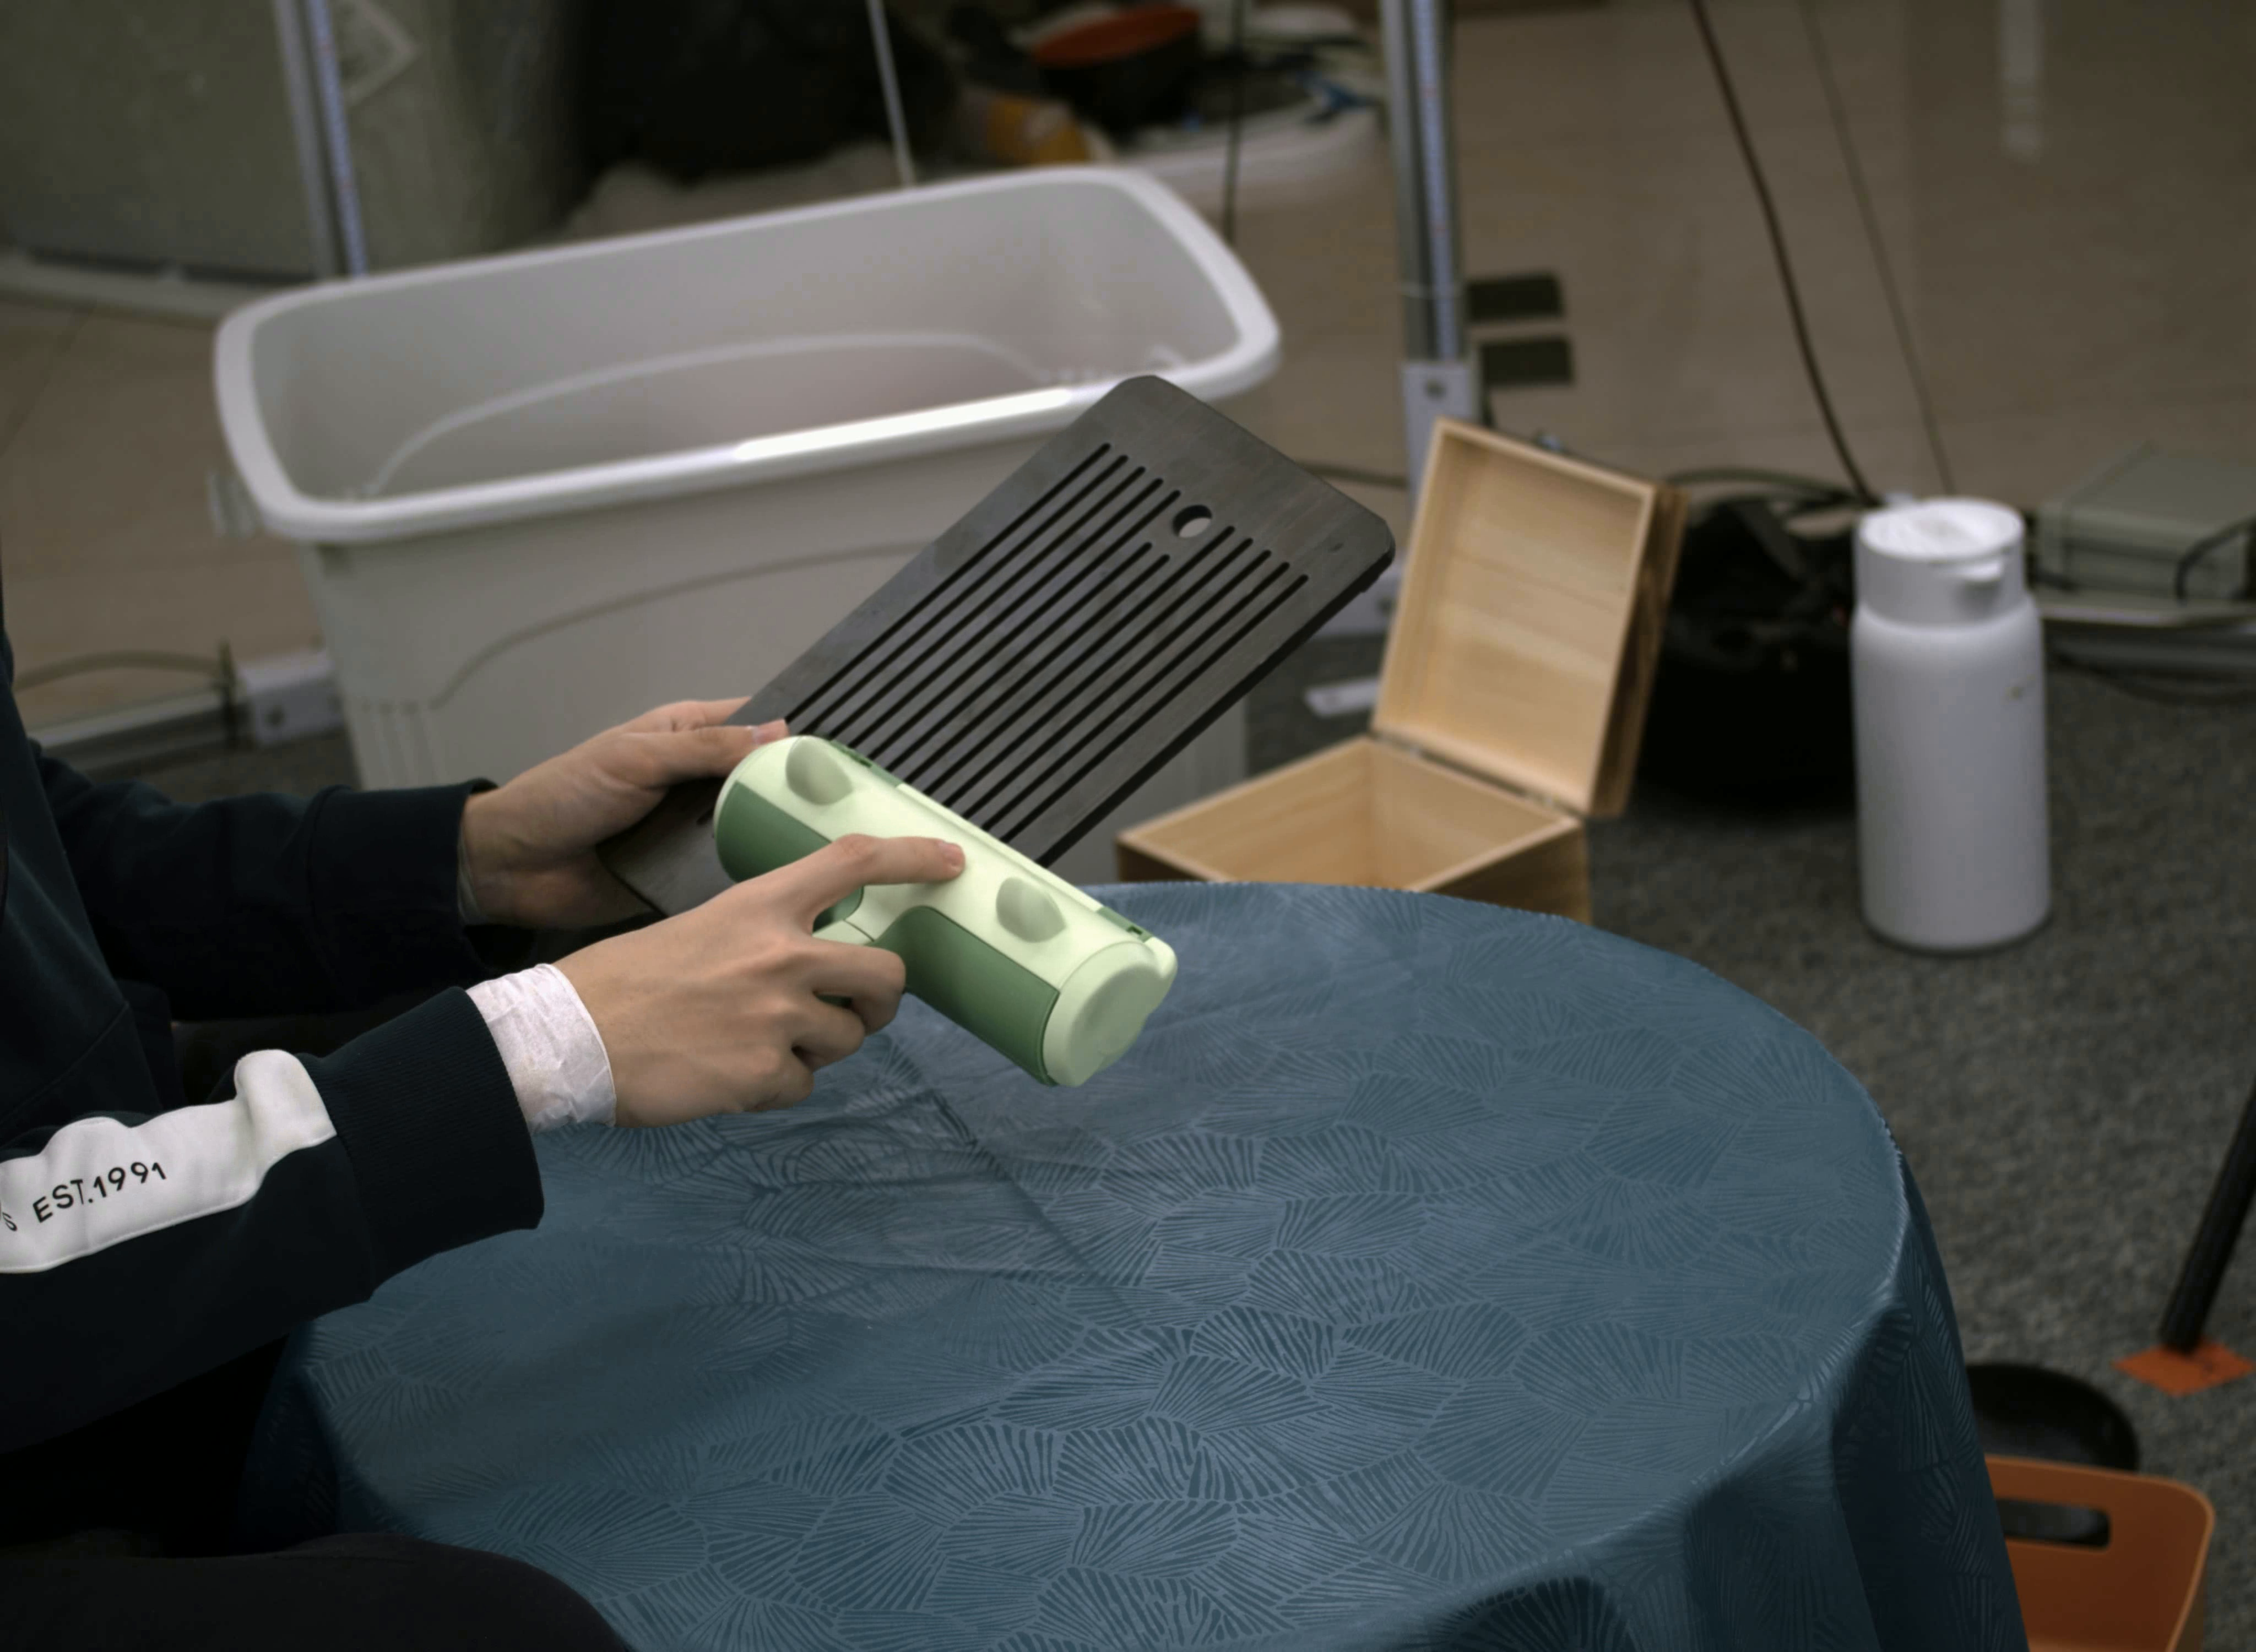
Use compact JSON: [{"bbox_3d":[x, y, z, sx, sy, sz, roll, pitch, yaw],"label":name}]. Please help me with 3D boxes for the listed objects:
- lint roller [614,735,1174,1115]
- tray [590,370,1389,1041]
[{"bbox_3d":[-0.112,0.041,2.049,0.182,0.084,0.196,-25,43,-38],"label":"lint roller"},{"bbox_3d":[-0.053,-0.049,2.202,0.304,0.019,0.168,-42,48,-13],"label":"tray"}]
